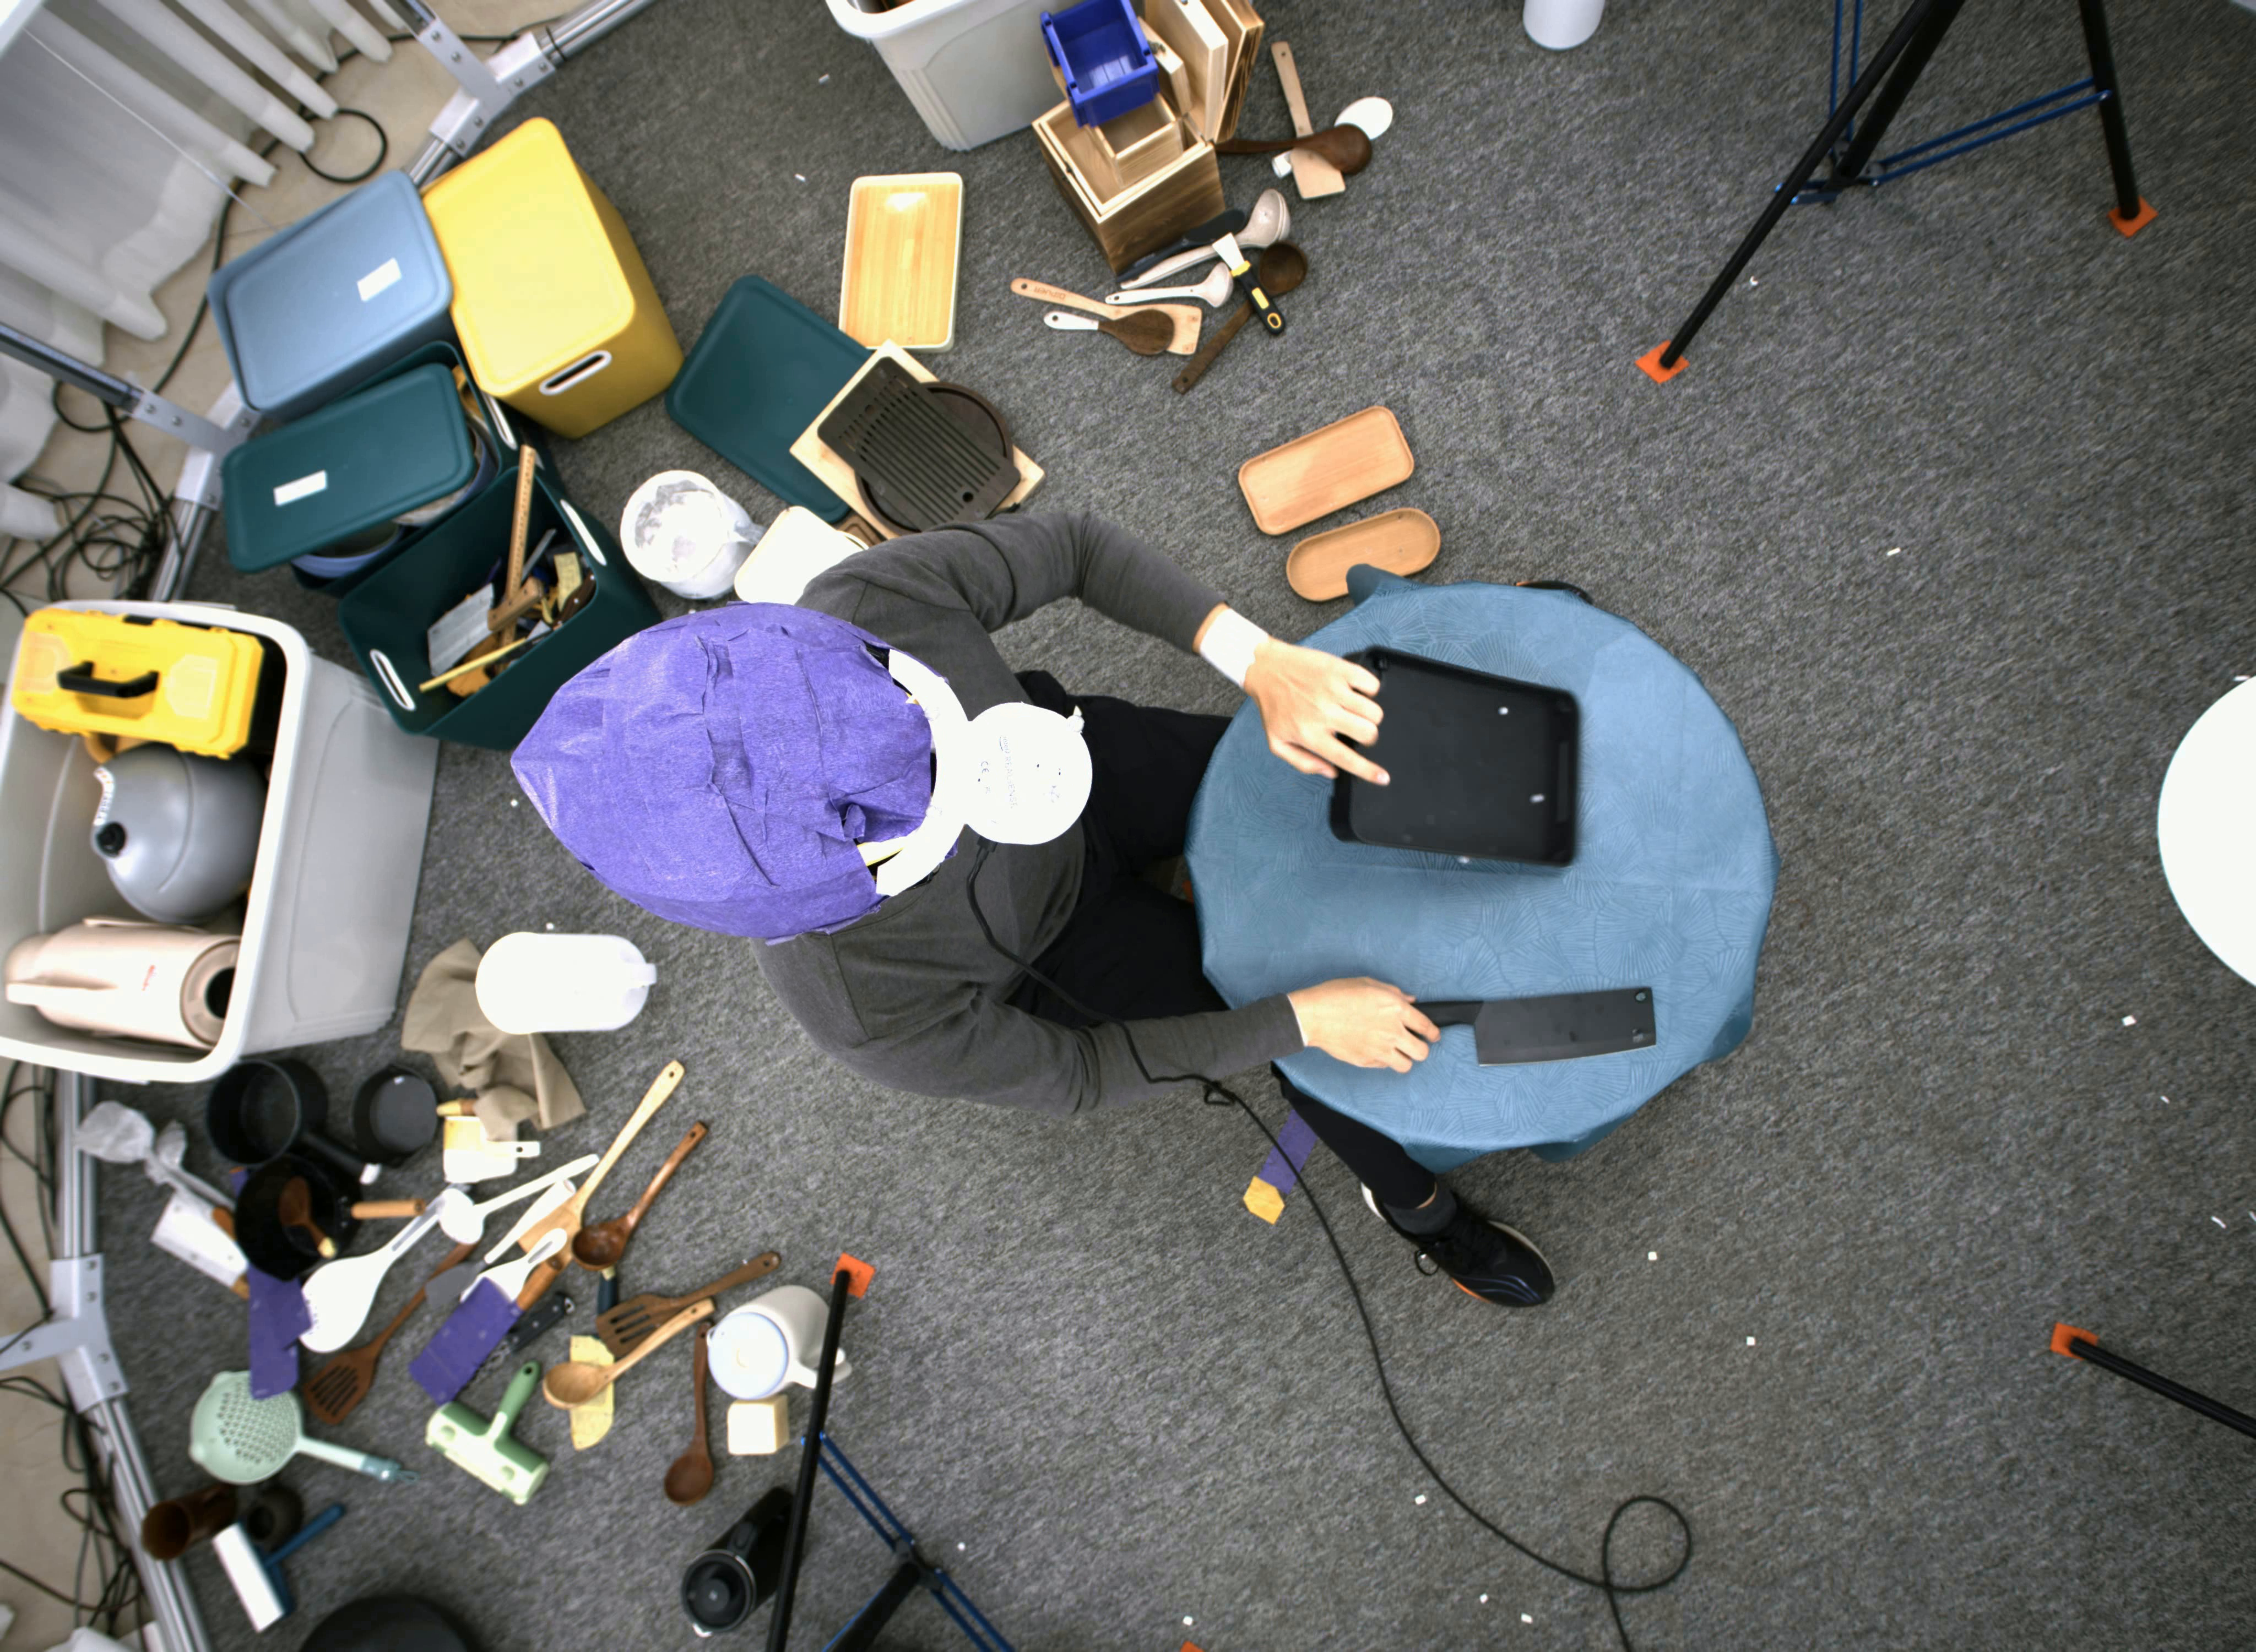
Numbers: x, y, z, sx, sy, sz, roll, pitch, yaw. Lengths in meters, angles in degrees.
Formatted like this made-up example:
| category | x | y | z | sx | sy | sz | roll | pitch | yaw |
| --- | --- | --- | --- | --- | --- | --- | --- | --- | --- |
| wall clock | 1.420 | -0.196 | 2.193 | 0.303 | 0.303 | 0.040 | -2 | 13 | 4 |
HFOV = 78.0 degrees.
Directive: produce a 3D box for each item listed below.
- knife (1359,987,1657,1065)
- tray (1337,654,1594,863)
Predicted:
| category | x | y | z | sx | sy | sz | roll | pitch | yaw |
| --- | --- | --- | --- | --- | --- | --- | --- | --- | --- |
| knife | 0.391 | 0.204 | 1.422 | 0.303 | 0.021 | 0.081 | -2 | 90 | 9 |
| tray | 0.335 | -0.061 | 1.339 | 0.316 | 0.037 | 0.183 | 2 | 87 | -31 |
